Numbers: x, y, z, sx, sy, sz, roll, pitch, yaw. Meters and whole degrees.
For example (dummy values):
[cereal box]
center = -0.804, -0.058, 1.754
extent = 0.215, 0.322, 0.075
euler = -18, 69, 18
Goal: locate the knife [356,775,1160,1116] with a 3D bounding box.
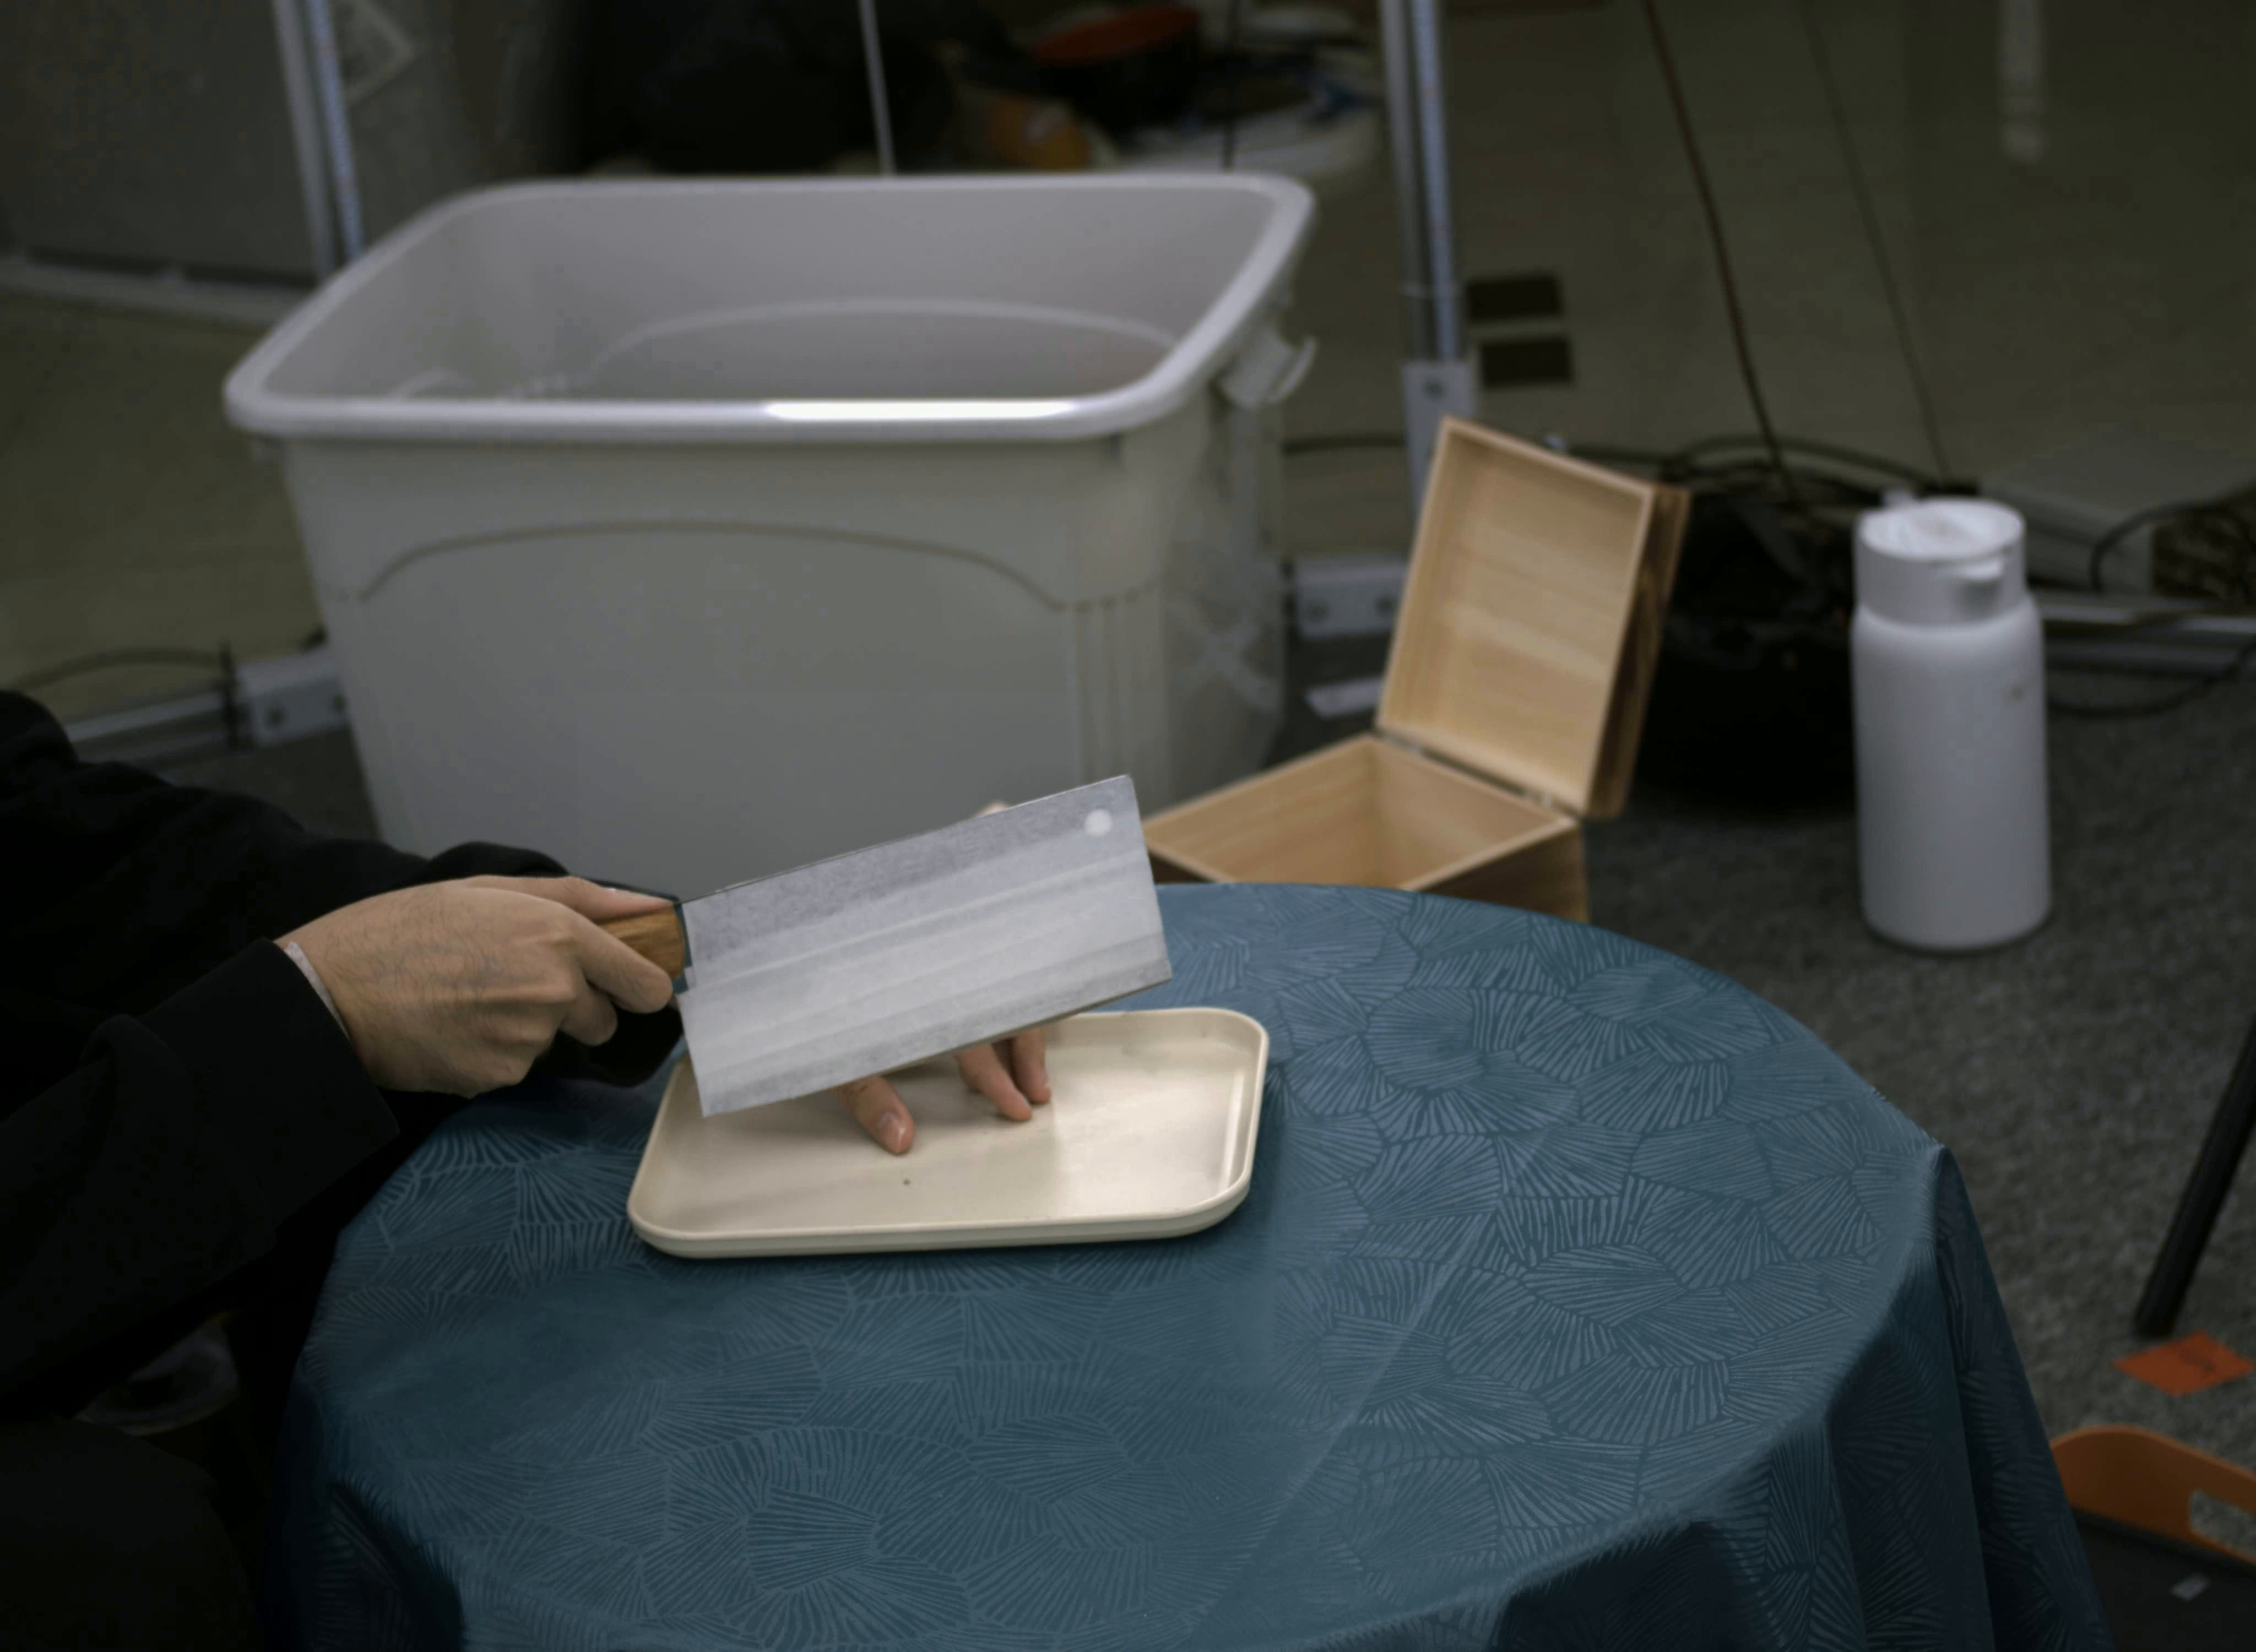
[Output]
[knife]
center = -0.135, 0.060, 2.139
extent = 0.305, 0.094, 0.021
euler = -16, 25, -10

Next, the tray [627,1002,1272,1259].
[tray]
center = -0.066, 0.118, 2.184
extent = 0.239, 0.018, 0.168
euler = -2, 27, 8
